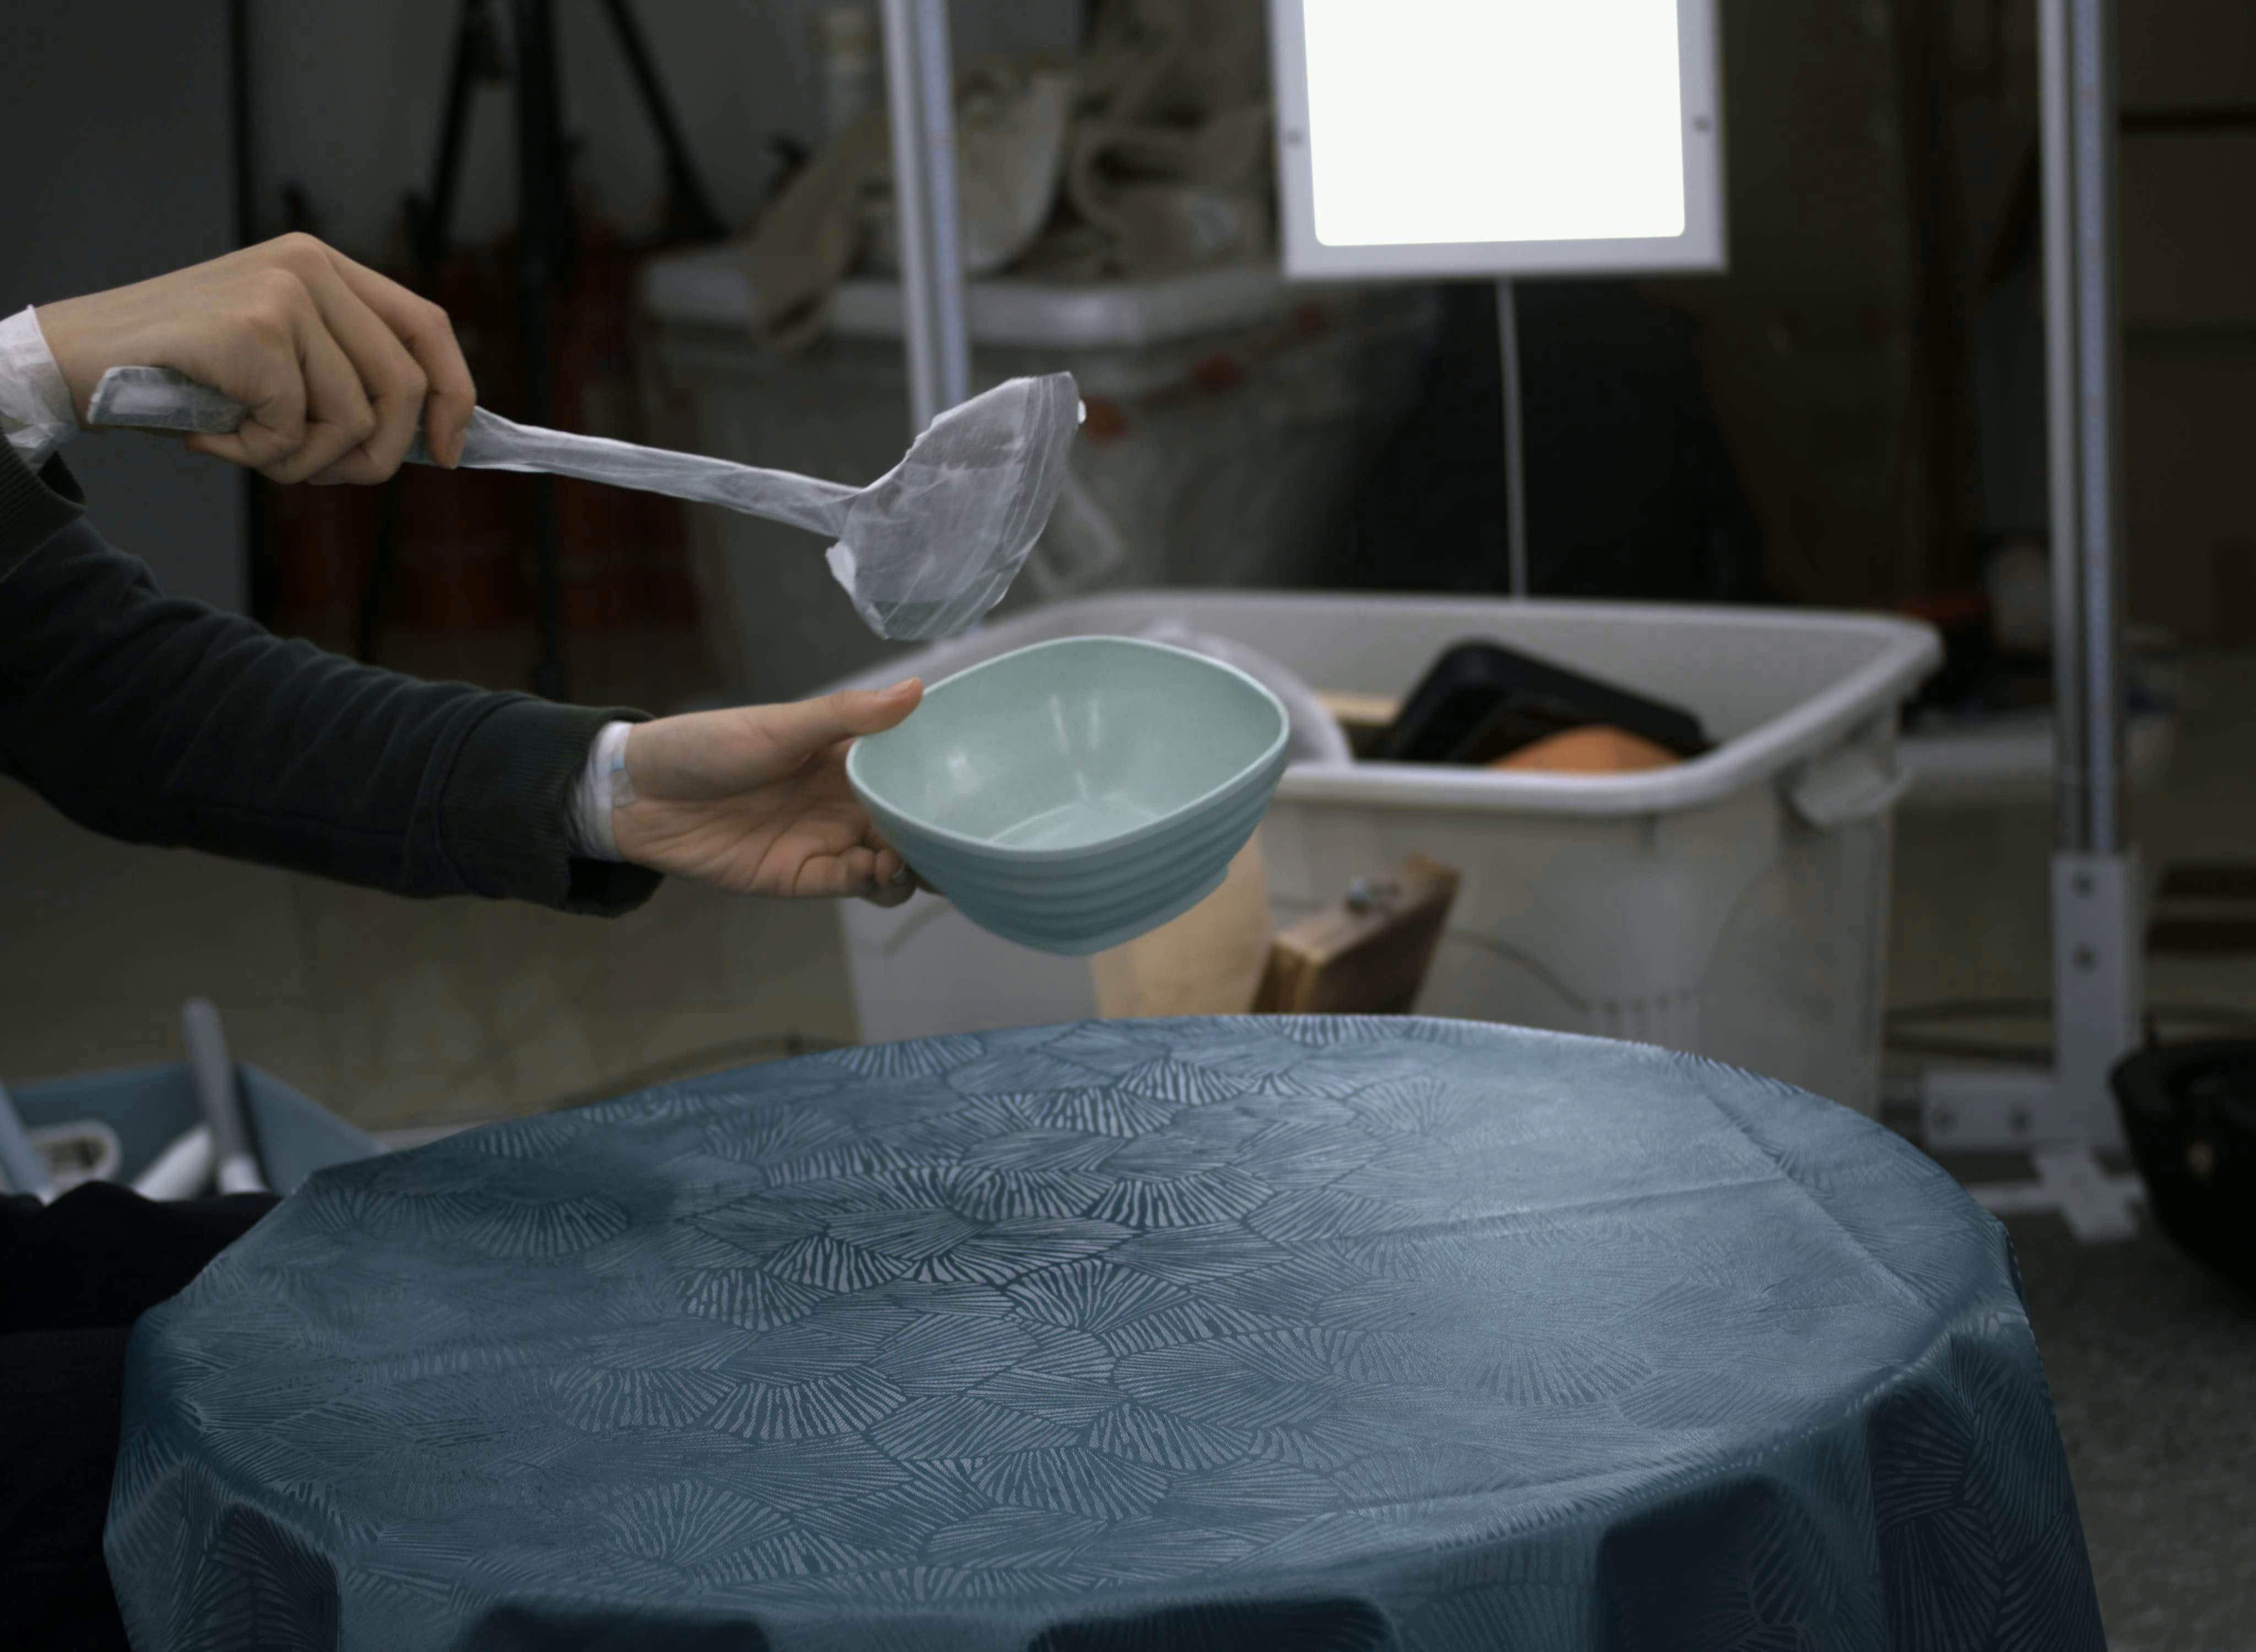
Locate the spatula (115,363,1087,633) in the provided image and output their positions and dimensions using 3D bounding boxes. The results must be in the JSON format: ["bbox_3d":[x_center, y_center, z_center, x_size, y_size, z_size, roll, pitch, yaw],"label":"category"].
[{"bbox_3d":[-0.154,-0.113,1.698,0.356,0.100,0.045,6,29,-37],"label":"spatula"}]

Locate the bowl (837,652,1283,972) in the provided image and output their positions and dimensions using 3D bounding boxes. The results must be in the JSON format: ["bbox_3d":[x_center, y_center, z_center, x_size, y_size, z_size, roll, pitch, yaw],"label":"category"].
[{"bbox_3d":[-0.021,0.001,1.860,0.151,0.059,0.151,-6,28,2],"label":"bowl"}]
